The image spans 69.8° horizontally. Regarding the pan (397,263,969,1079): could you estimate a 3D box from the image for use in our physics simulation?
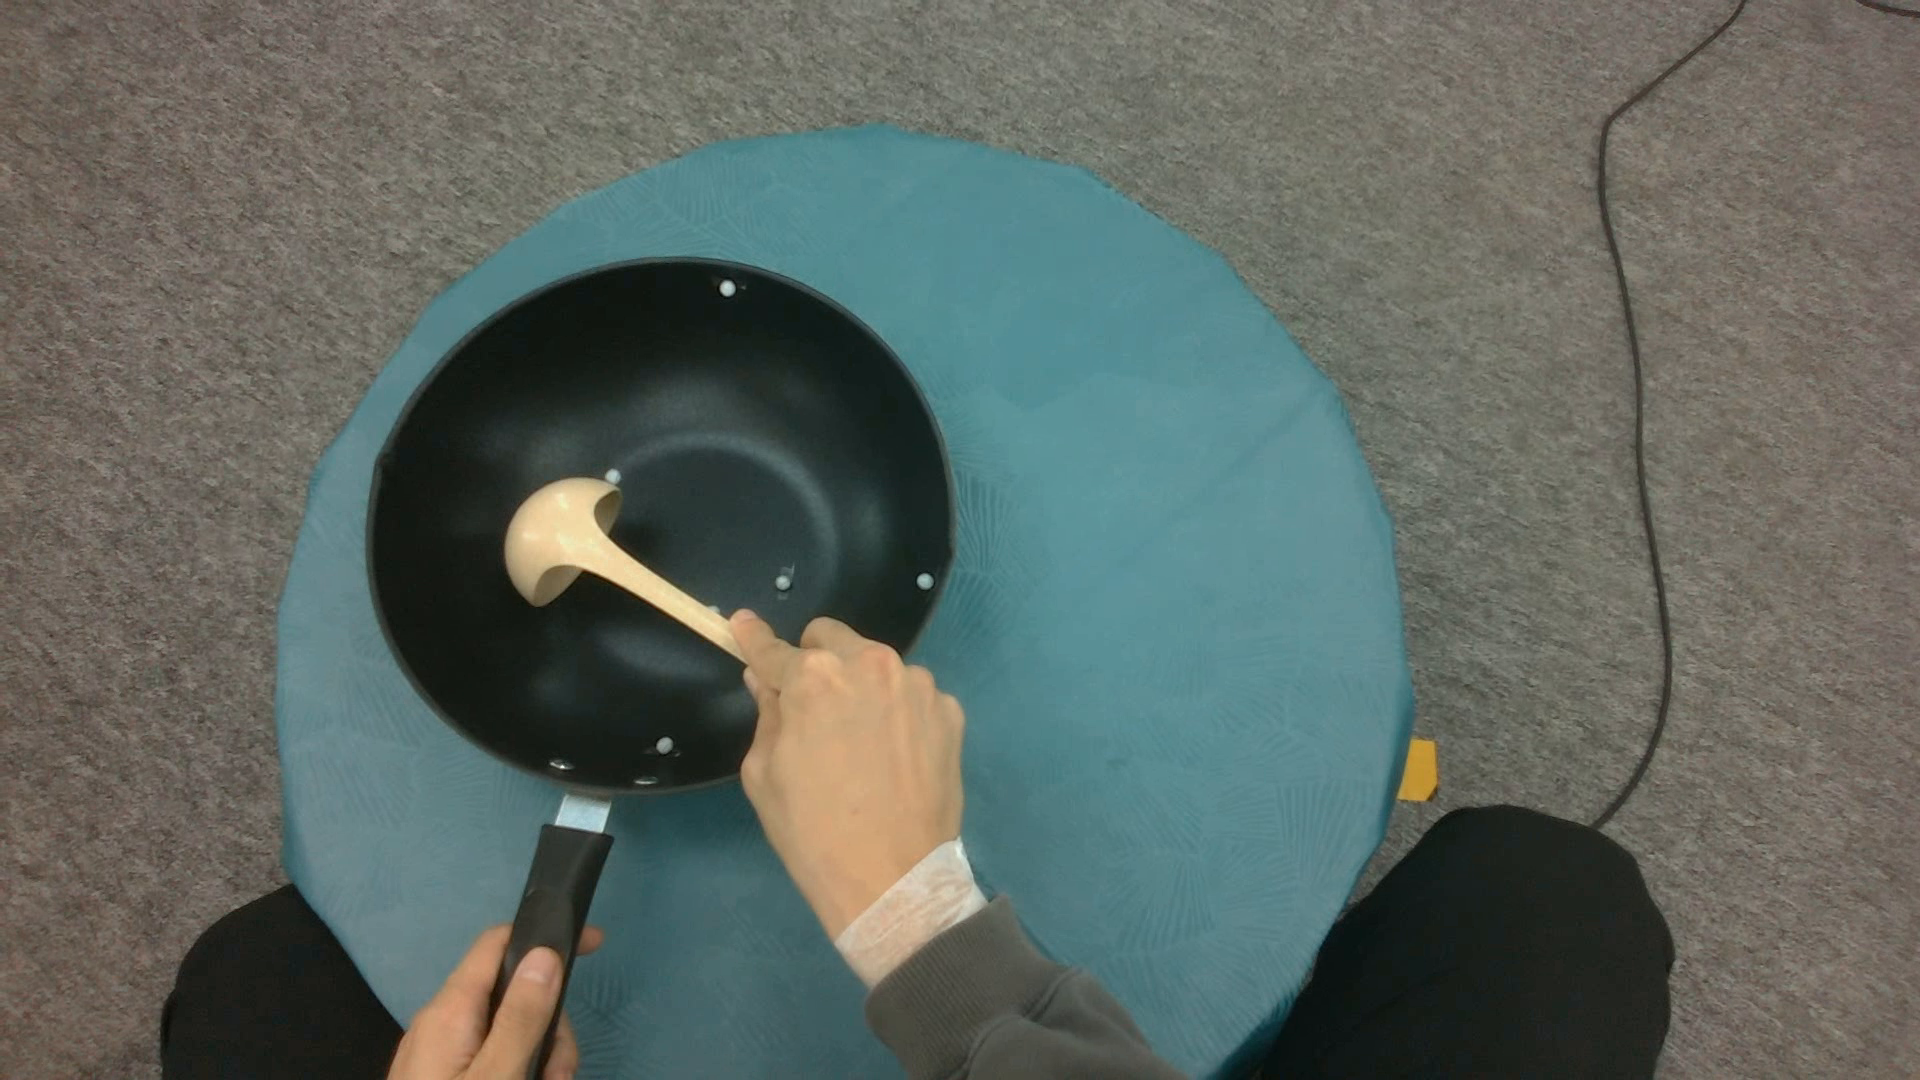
[{"bbox_3d":[-0.155,0.083,0.689,0.288,0.086,0.465,10,71,4],"label":"pan"}]

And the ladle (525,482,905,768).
[{"bbox_3d":[-0.115,0.050,0.676,0.254,0.072,0.072,31,76,25],"label":"ladle"}]
